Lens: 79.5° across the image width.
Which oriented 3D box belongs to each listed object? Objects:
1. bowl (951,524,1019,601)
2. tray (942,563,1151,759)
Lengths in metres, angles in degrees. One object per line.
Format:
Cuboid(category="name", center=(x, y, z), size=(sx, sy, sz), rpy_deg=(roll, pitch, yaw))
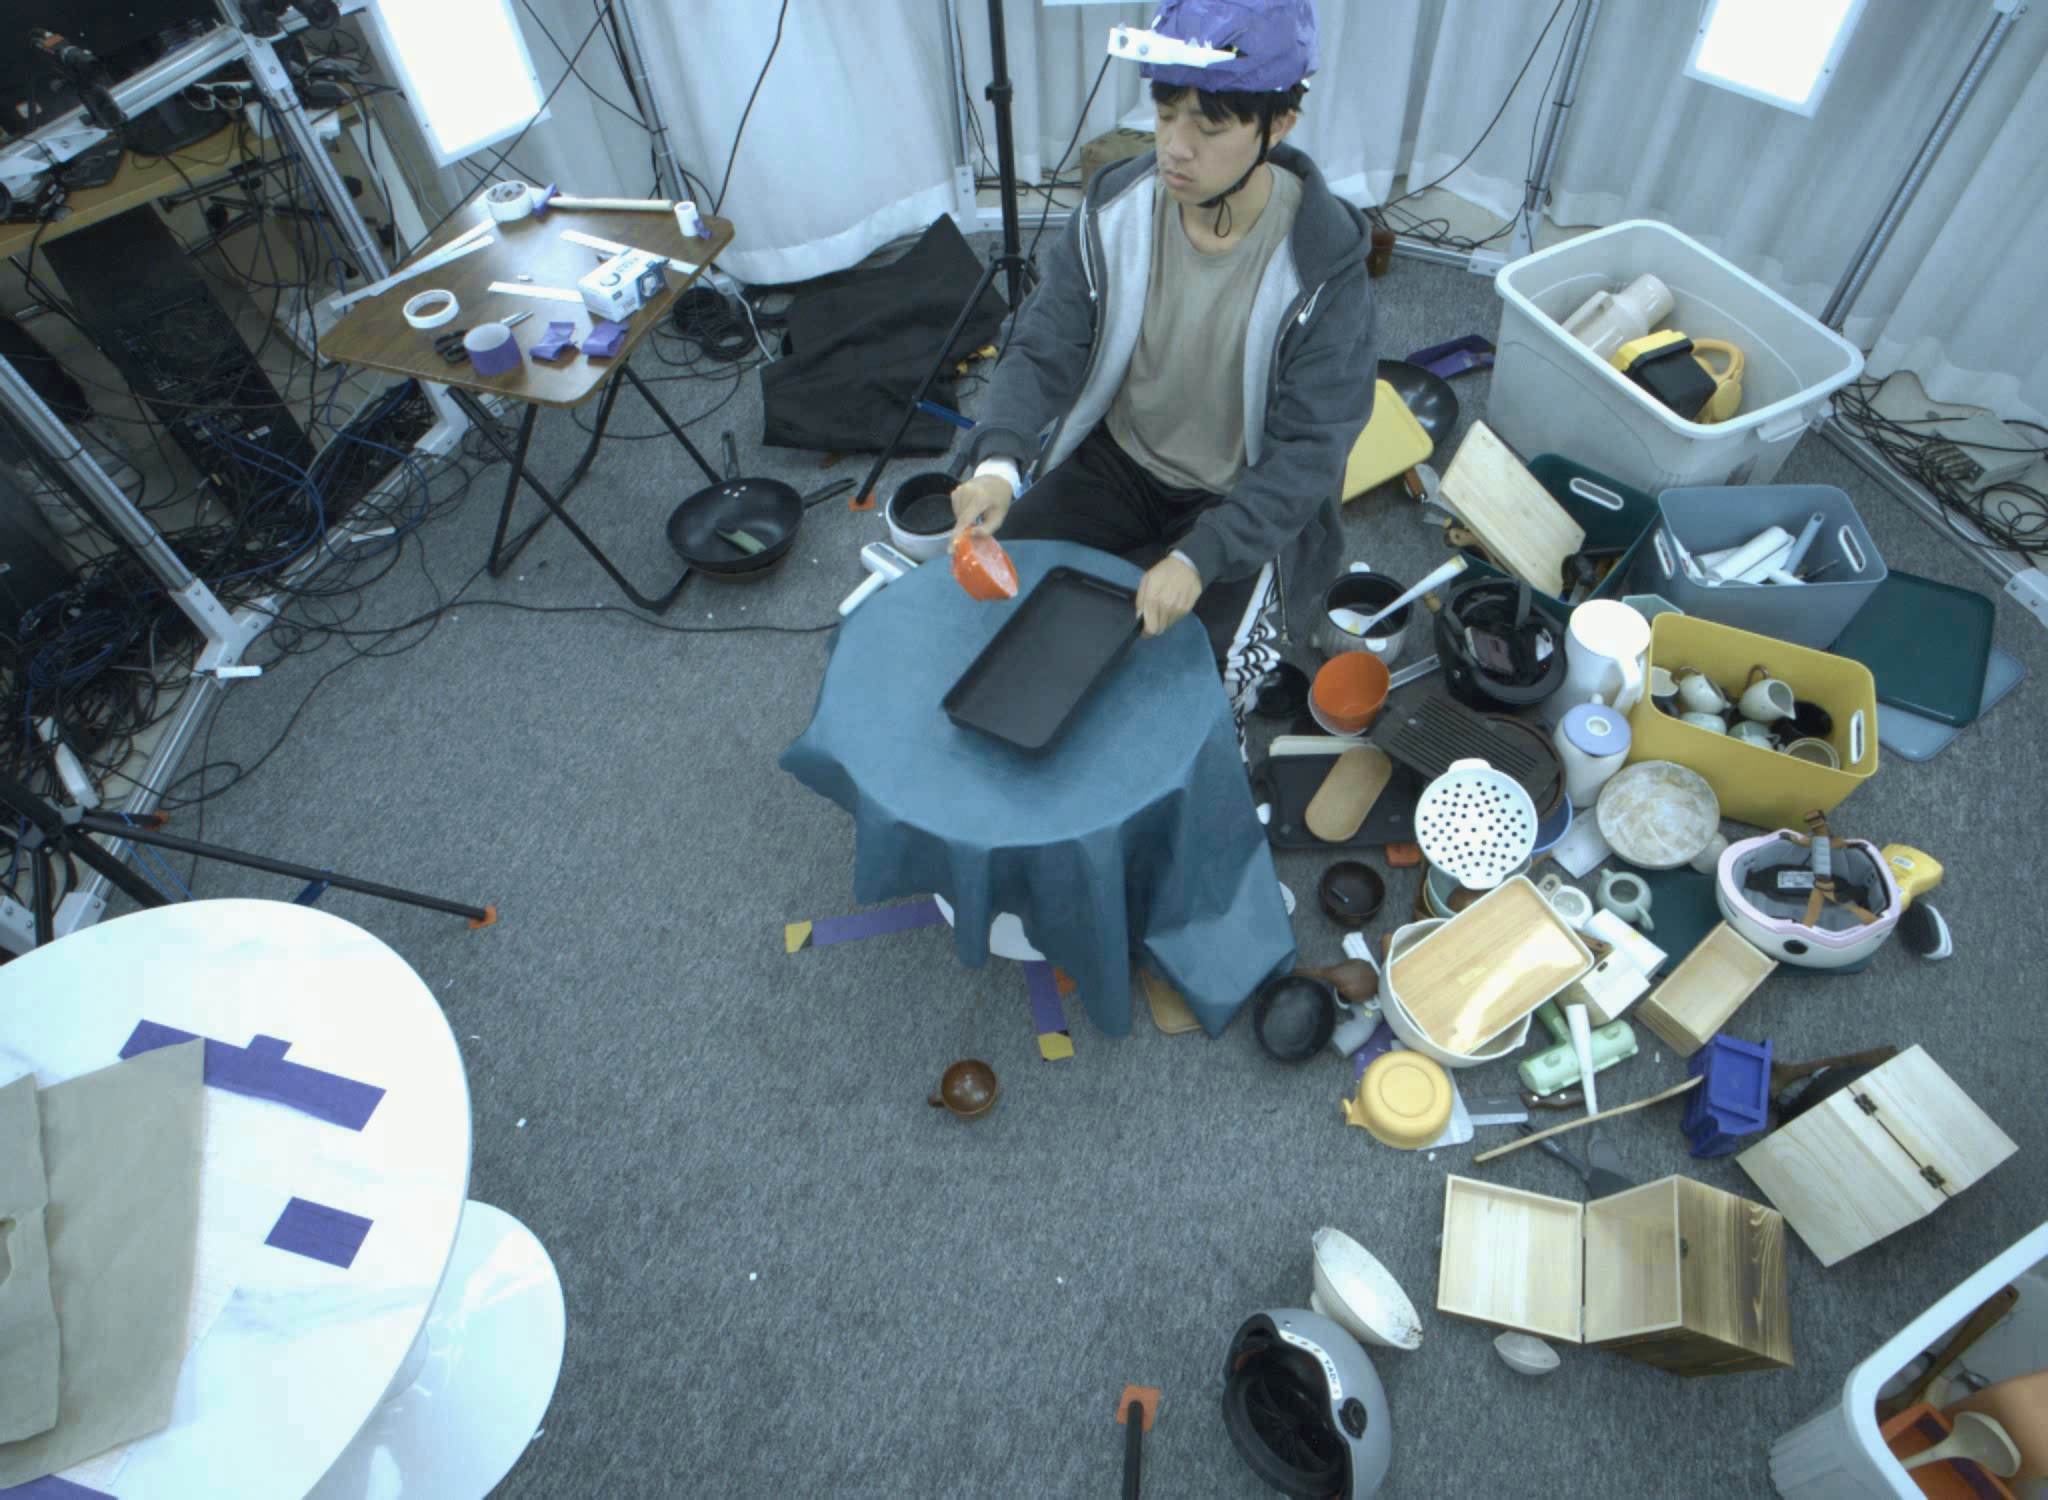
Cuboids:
Cuboid(category="bowl", center=(-0.061, -0.254, 1.713), size=(0.051, 0.122, 0.117), rpy_deg=(-32, 51, 25))
Cuboid(category="tray", center=(0.037, -0.136, 1.804), size=(0.181, 0.037, 0.319), rpy_deg=(24, 63, 26))
